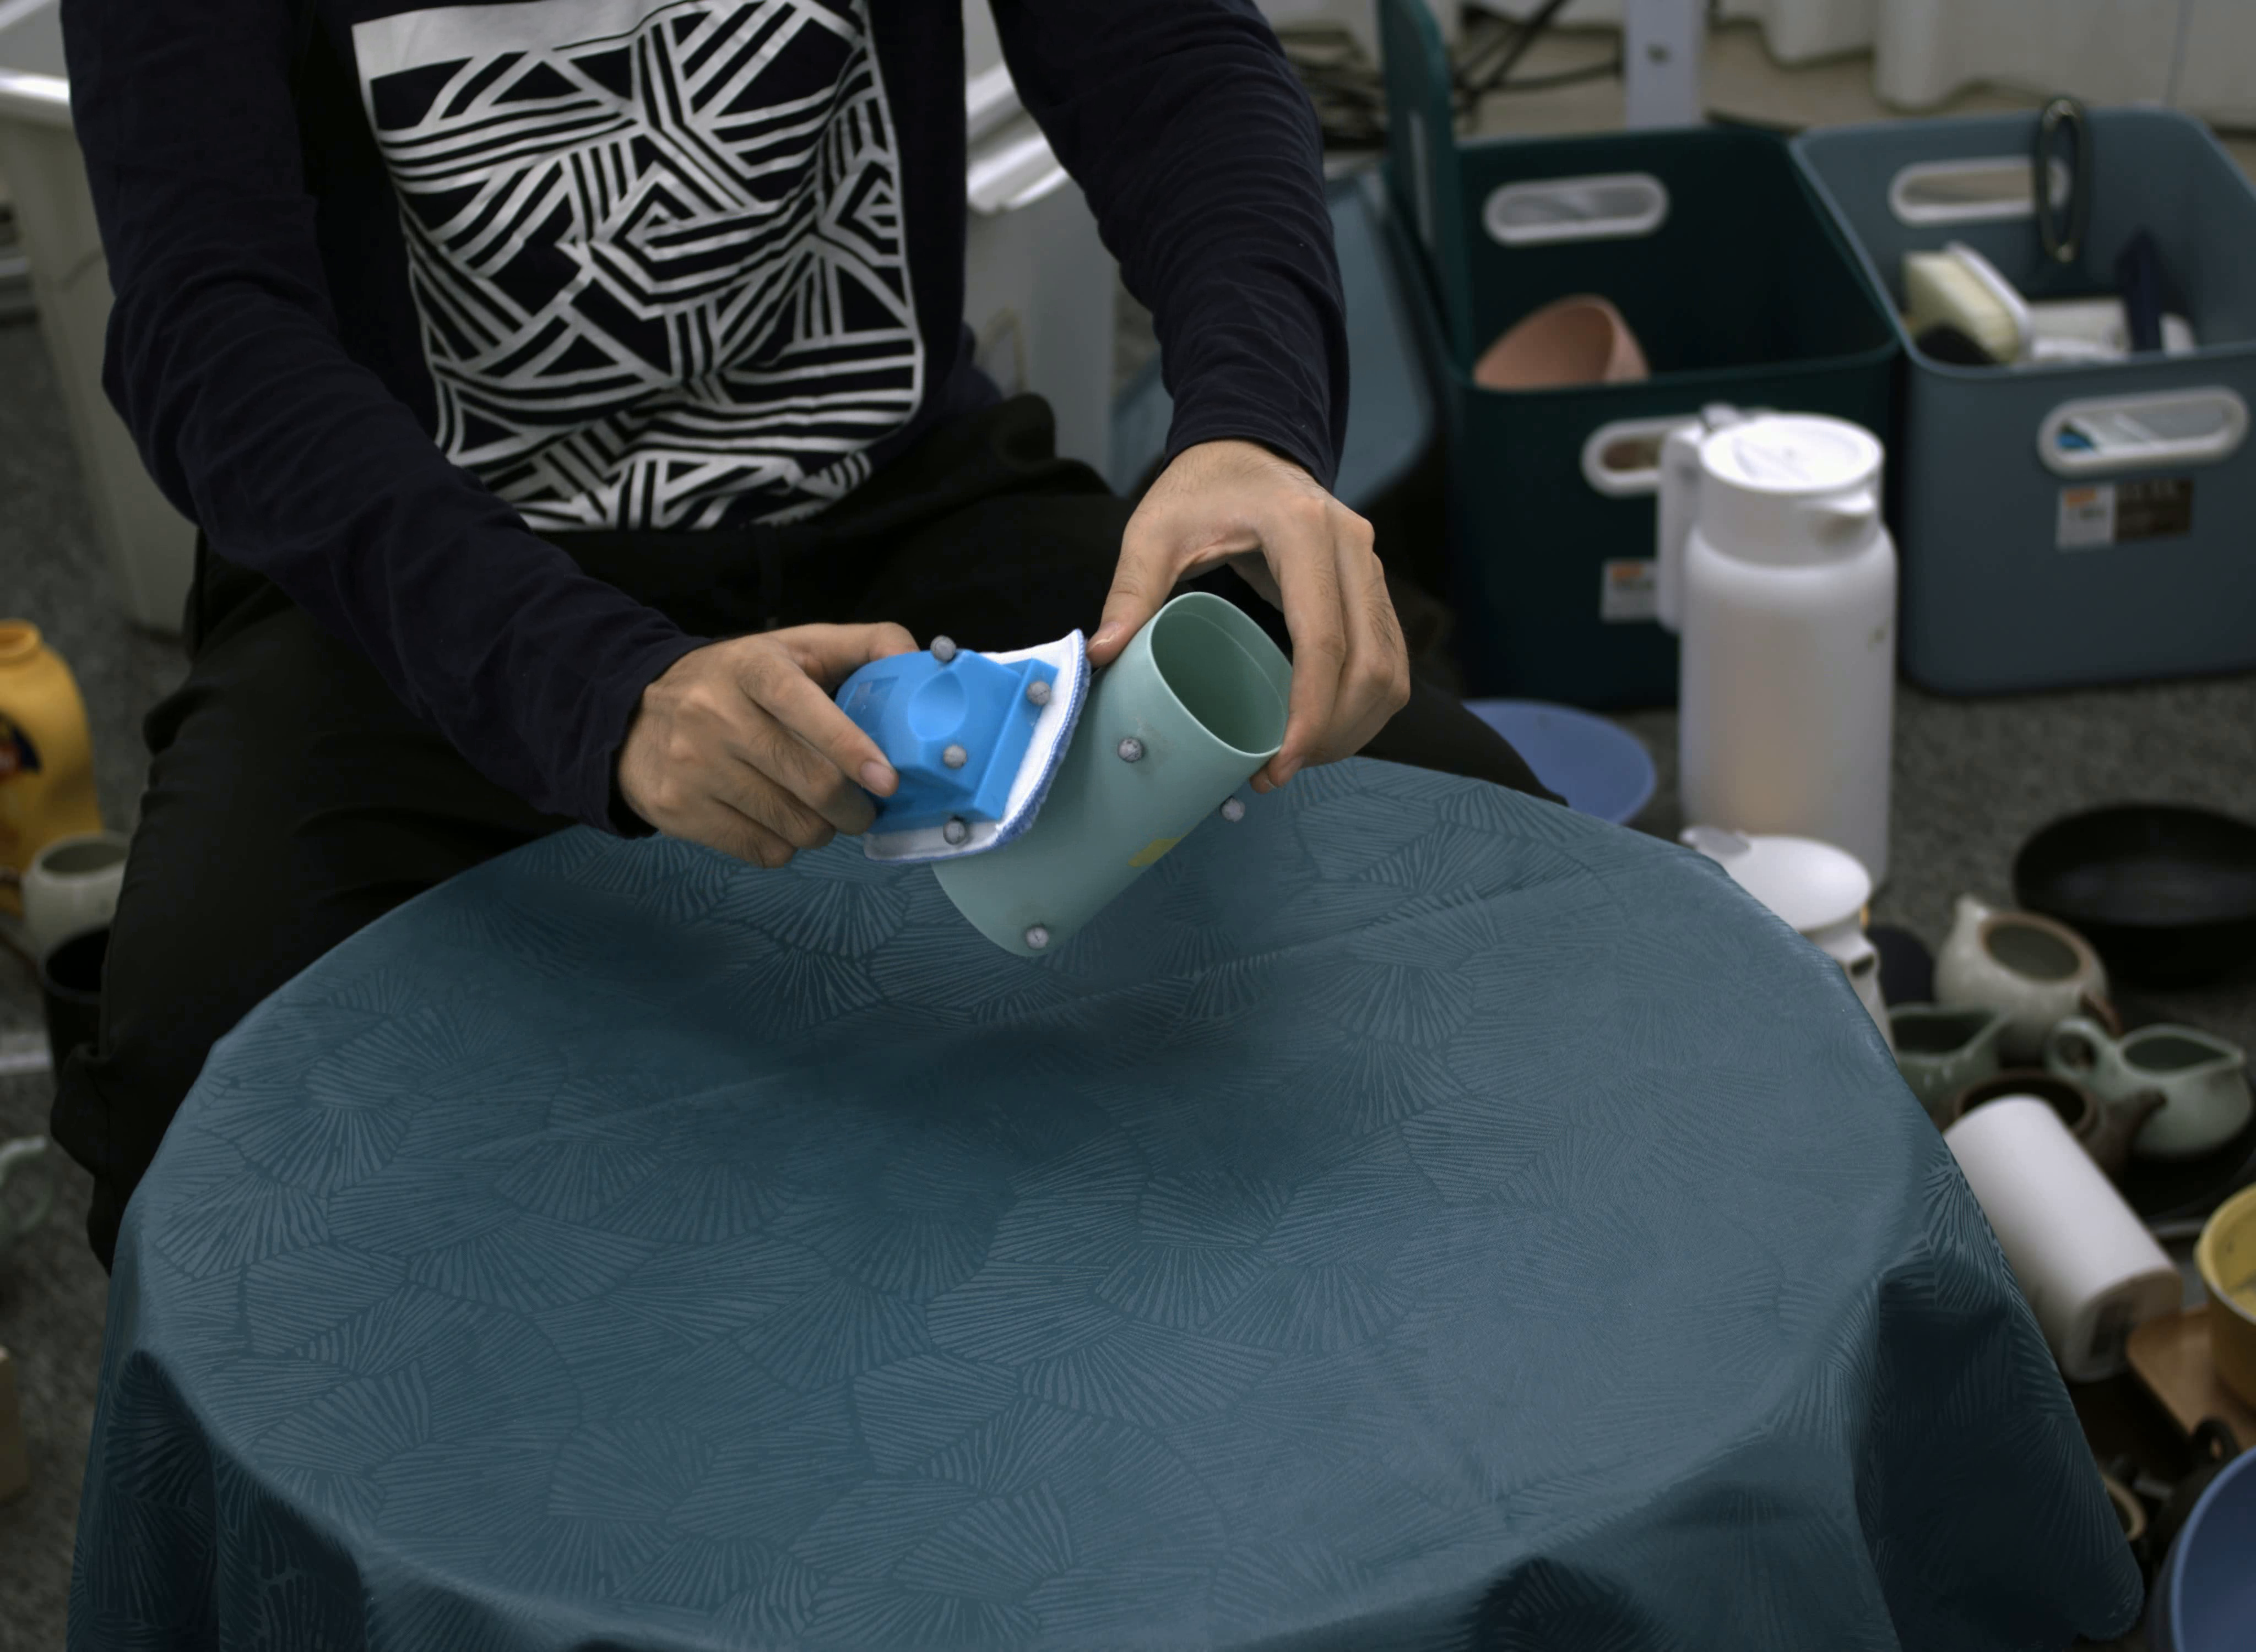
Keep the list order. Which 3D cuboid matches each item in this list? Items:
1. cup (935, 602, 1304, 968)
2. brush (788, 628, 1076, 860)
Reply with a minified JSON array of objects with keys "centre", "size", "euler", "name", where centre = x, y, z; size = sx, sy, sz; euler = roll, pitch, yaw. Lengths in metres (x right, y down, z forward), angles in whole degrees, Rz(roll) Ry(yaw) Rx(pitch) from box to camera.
[{"centre":[-0.005,-0.014,1.898],"size":[0.066,0.130,0.068],"euler":[24,43,-24],"name":"cup"},{"centre":[-0.073,-0.033,1.902],"size":[0.055,0.085,0.143],"euler":[33,-14,-21],"name":"brush"}]
